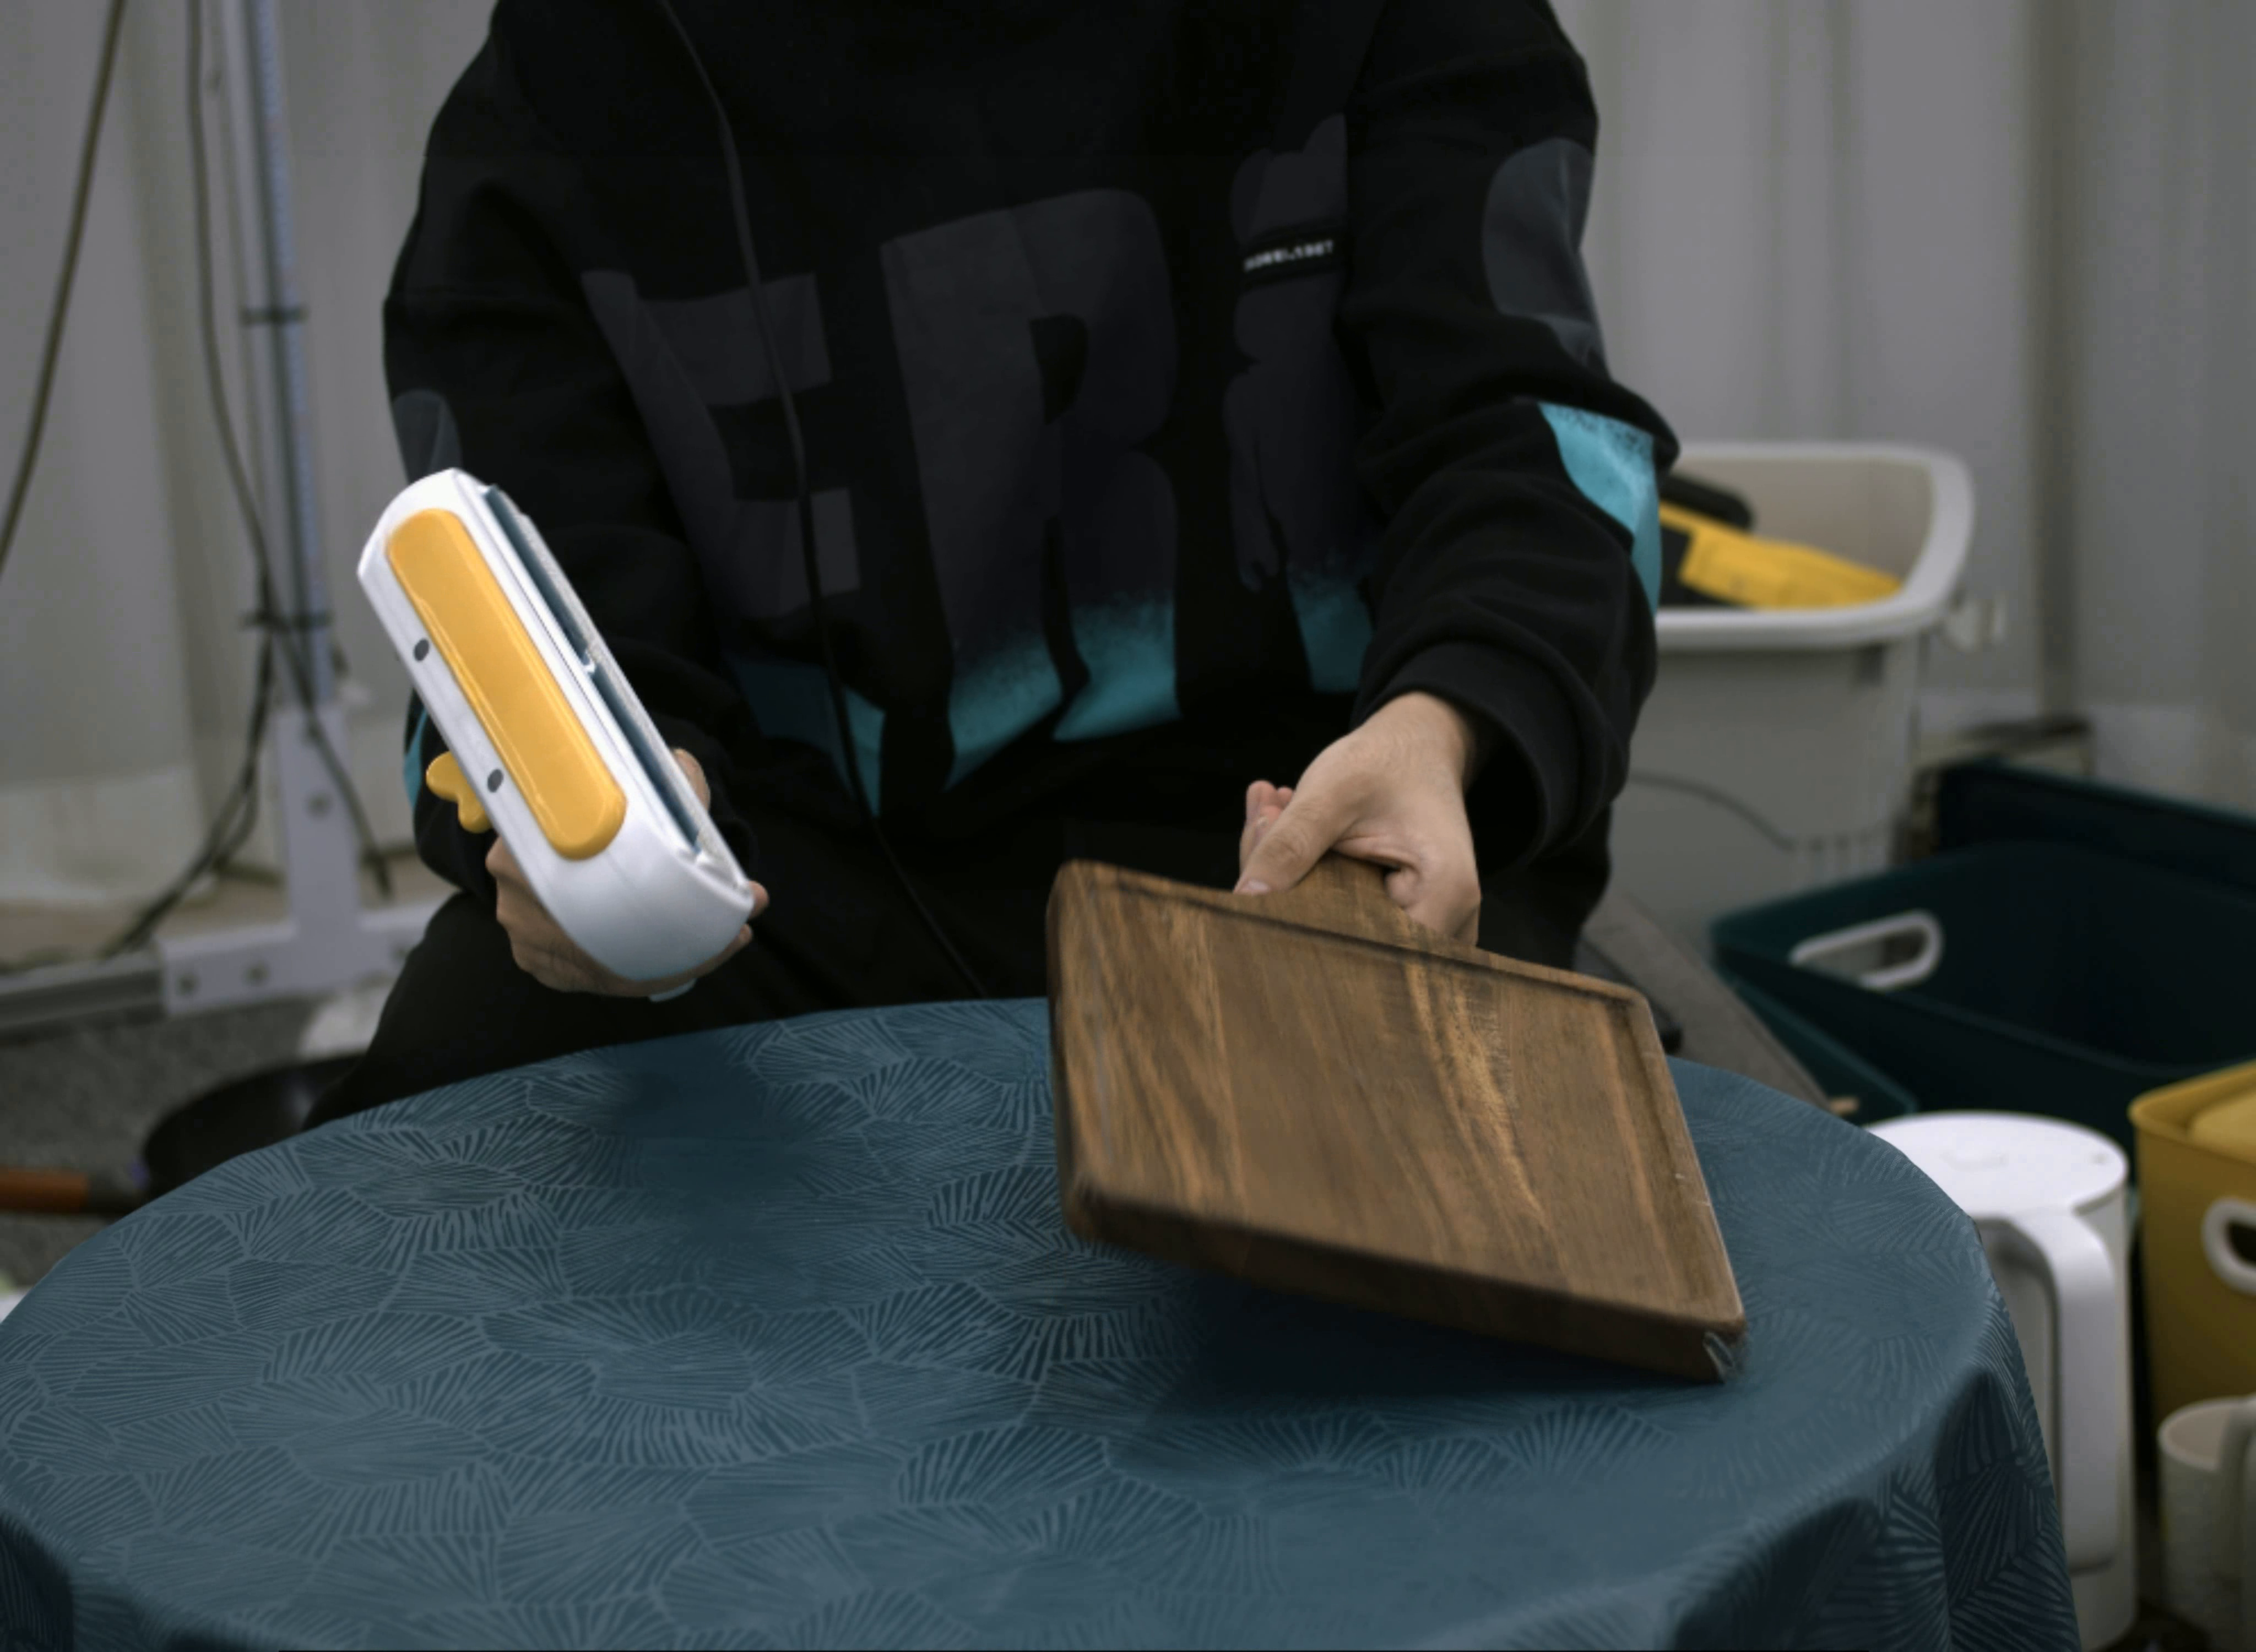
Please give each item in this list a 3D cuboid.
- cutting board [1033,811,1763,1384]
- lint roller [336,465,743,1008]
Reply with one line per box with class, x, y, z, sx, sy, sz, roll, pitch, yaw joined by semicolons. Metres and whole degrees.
cutting board;0.072;0.069;1.673;0.200;0.023;0.355;10;20;-6
lint roller;-0.167;-0.006;1.753;0.074;0.190;0.195;-41;53;-1
